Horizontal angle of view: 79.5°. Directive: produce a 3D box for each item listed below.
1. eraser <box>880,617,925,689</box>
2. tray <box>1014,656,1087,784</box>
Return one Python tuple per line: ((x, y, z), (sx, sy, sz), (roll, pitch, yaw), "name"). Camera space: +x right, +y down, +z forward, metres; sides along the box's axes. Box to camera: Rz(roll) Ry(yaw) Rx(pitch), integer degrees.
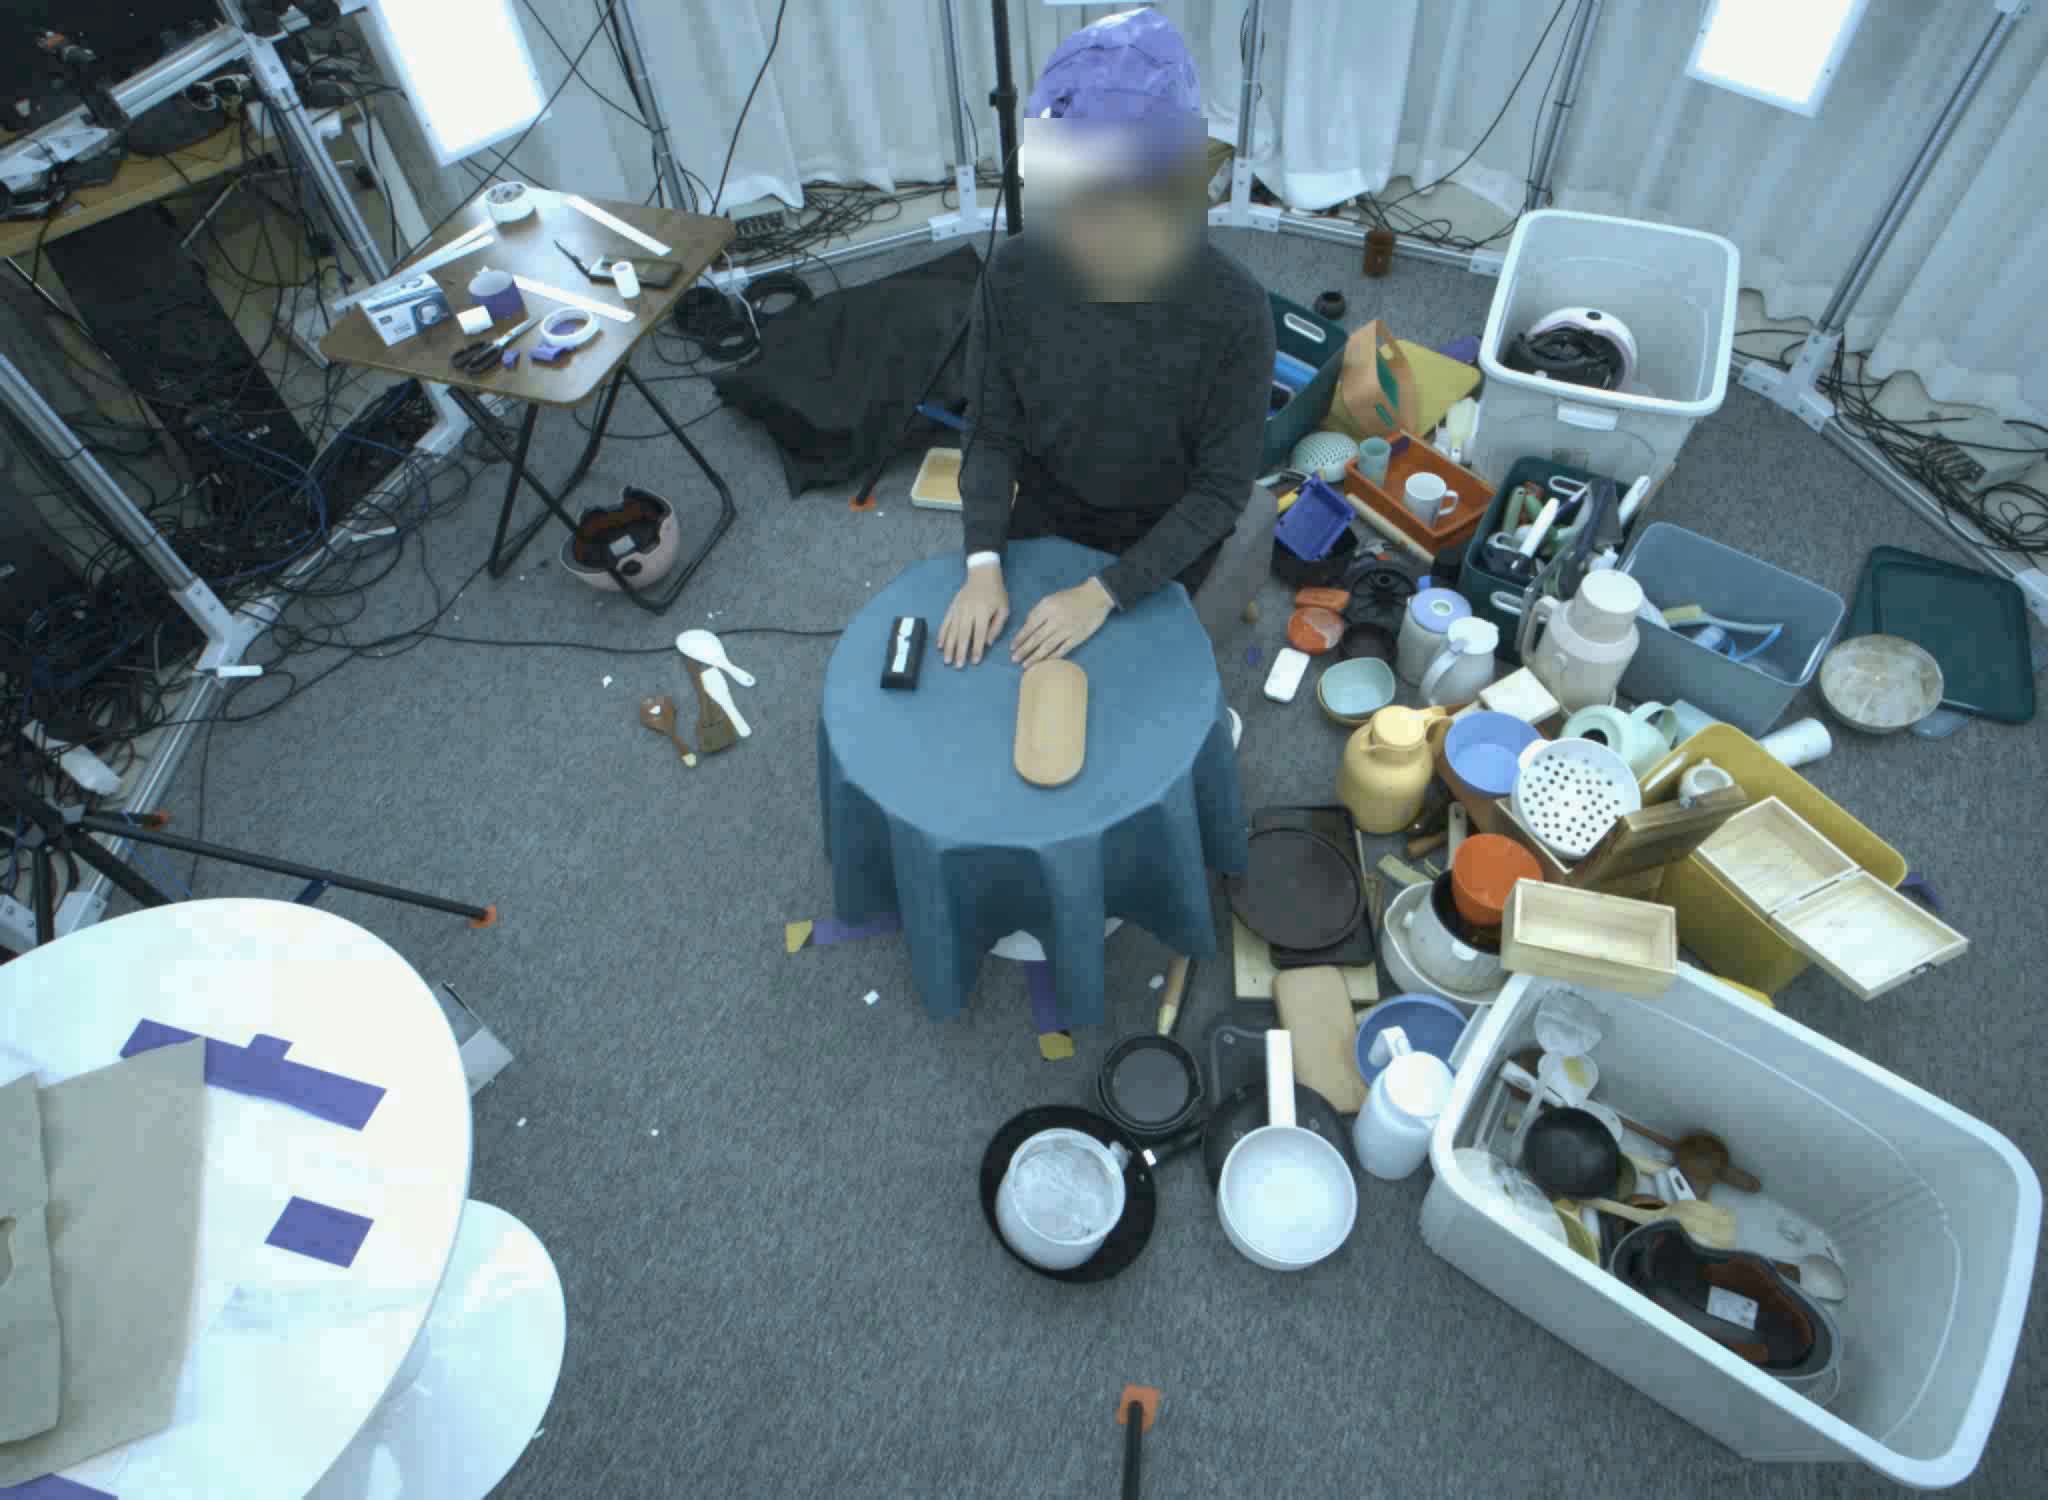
((-0.186, -0.150, 1.883), (0.053, 0.031, 0.124), (4, 54, 2), "eraser")
((0.040, -0.046, 1.809), (0.101, 0.020, 0.229), (2, 53, 2), "tray")
